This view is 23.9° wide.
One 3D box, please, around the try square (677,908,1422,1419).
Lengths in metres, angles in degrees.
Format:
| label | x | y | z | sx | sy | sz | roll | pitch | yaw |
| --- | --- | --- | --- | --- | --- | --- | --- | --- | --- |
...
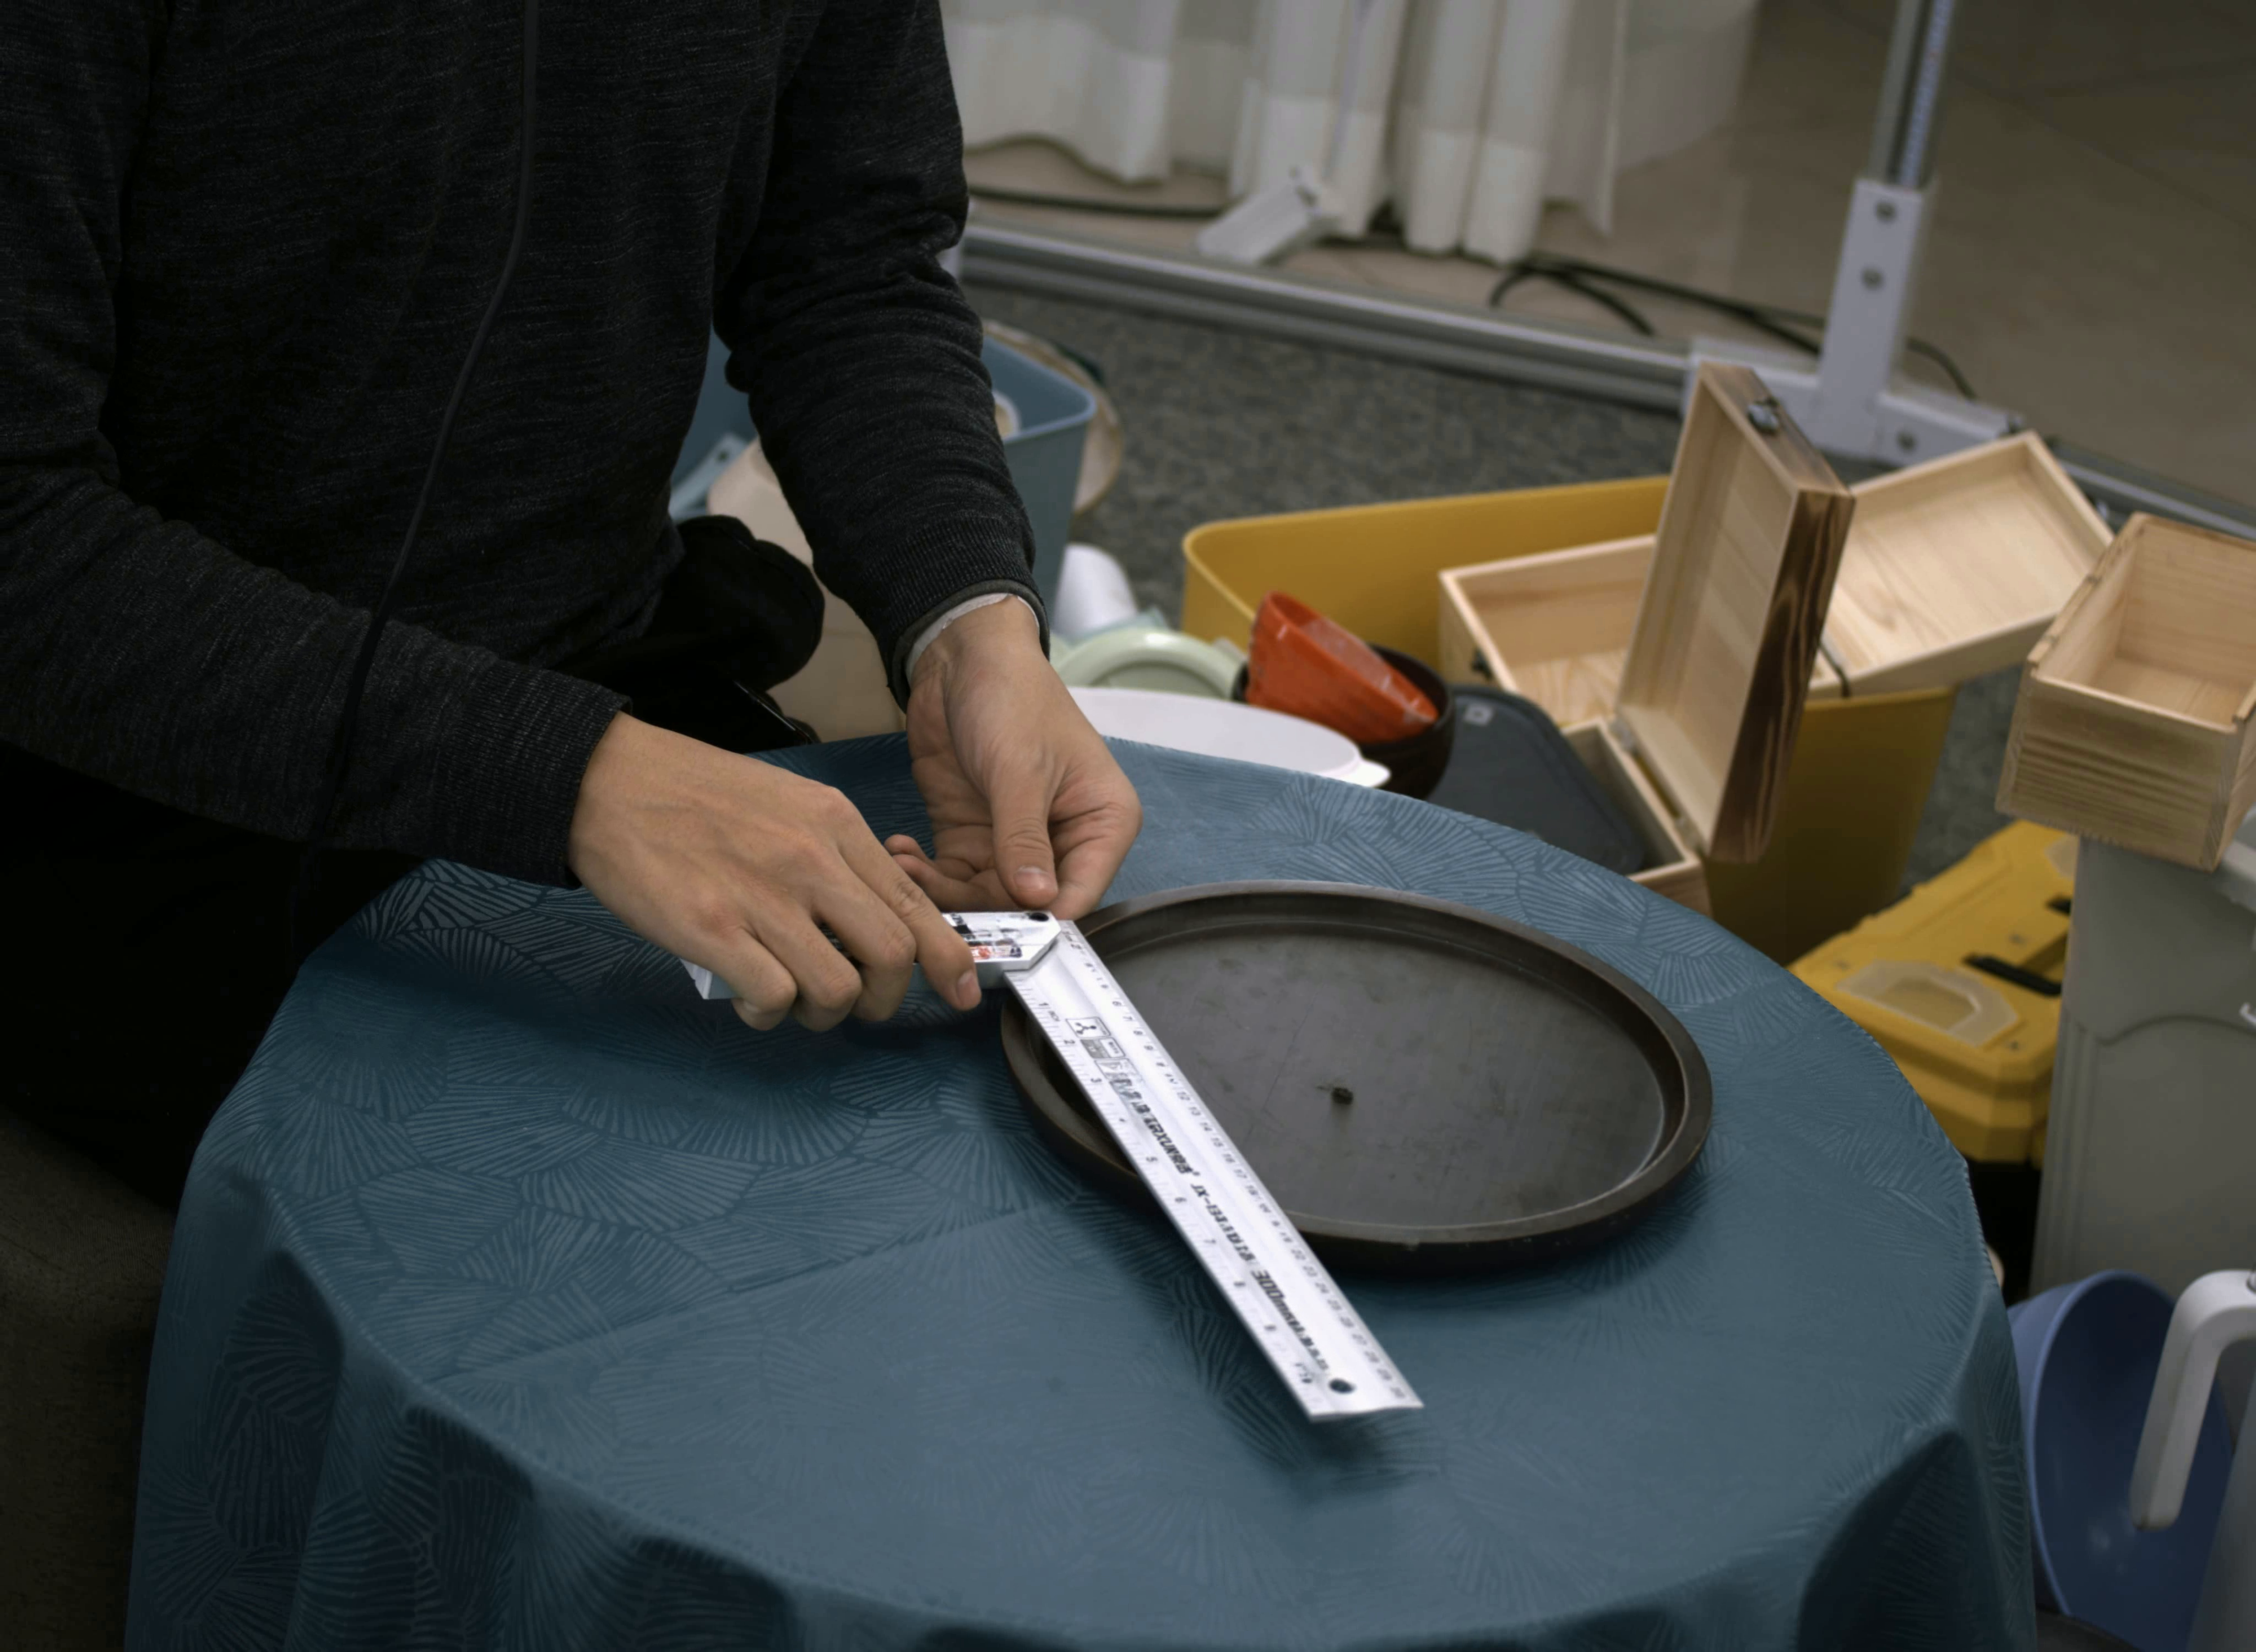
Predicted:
| label | x | y | z | sx | sy | sz | roll | pitch | yaw |
| --- | --- | --- | --- | --- | --- | --- | --- | --- | --- |
| try square | -0.033 | 0.110 | 1.762 | 0.151 | 0.016 | 0.316 | -2 | 29 | -23 |

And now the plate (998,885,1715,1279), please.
| label | x | y | z | sx | sy | sz | roll | pitch | yaw |
| --- | --- | --- | --- | --- | --- | --- | --- | --- | --- |
| plate | 0.080 | 0.087 | 1.865 | 0.254 | 0.029 | 0.256 | 5 | 28 | -3 |
